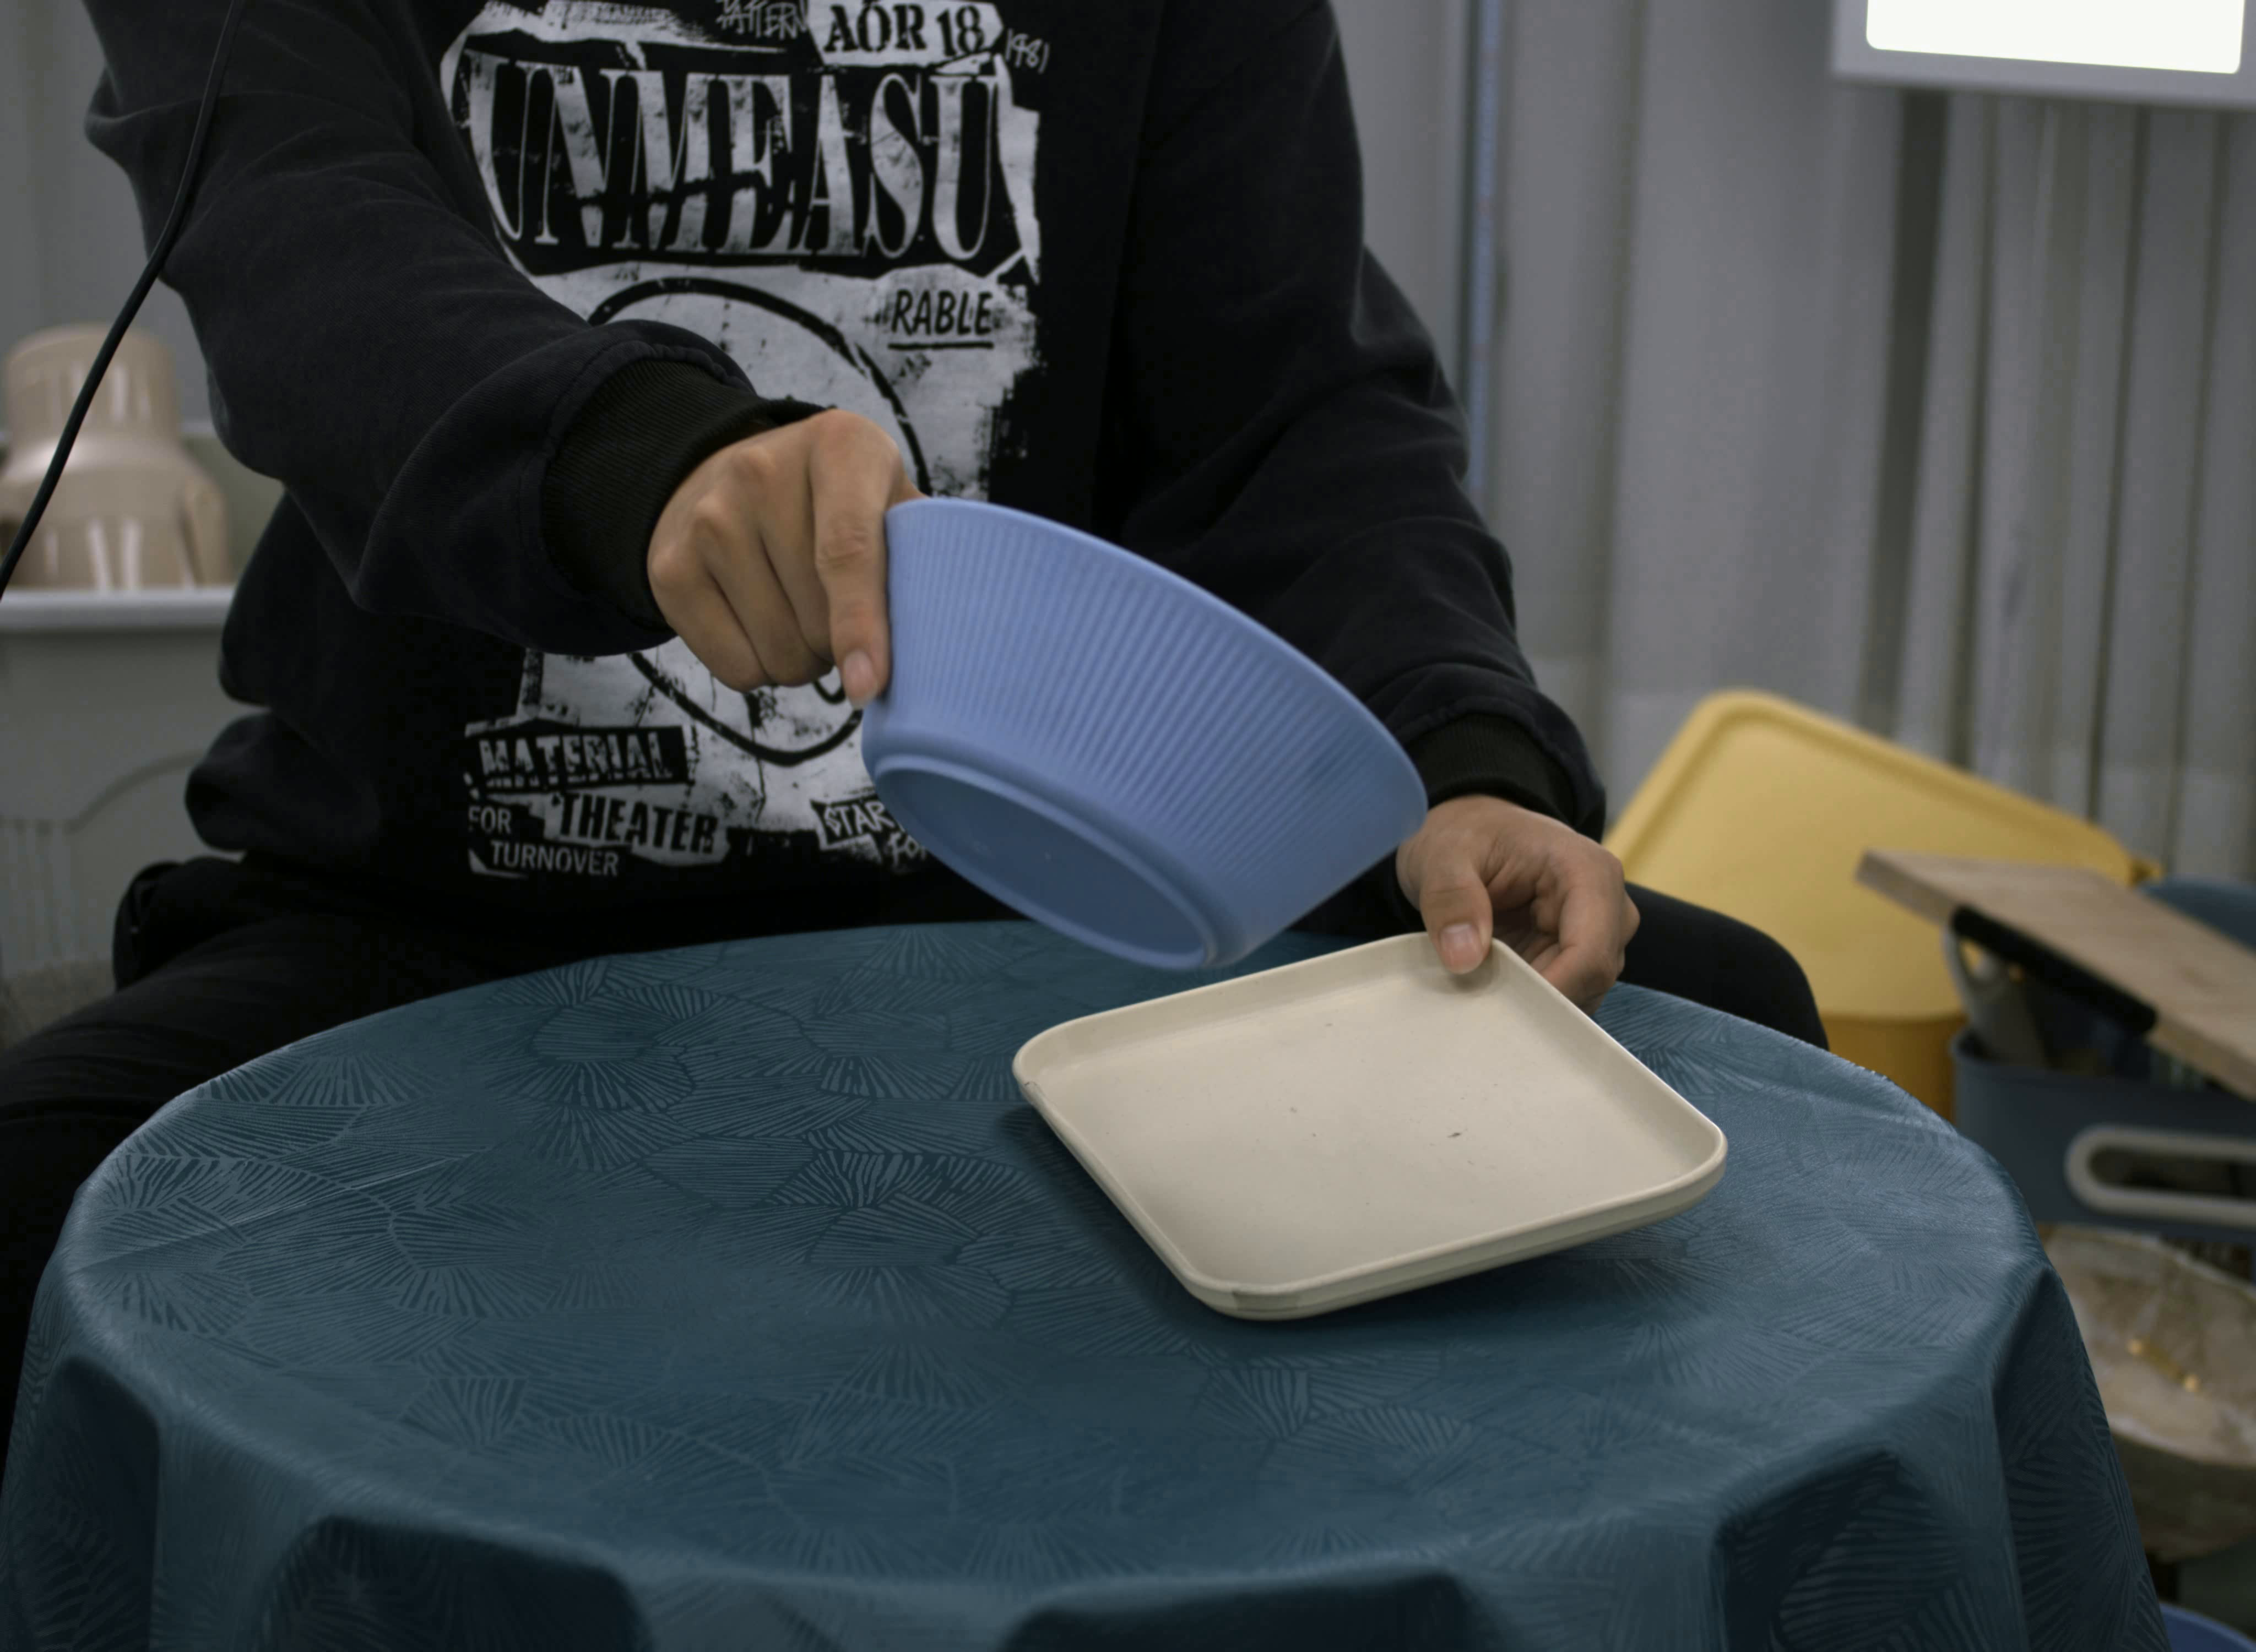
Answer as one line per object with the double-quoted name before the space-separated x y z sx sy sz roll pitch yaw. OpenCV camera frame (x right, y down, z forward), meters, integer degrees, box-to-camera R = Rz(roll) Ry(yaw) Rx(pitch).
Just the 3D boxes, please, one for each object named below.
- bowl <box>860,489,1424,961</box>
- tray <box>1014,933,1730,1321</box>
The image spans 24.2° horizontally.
"bowl" -0.009 -0.019 1.479 0.175 0.070 0.177 26 -16 9
"tray" 0.071 0.091 1.624 0.171 0.017 0.237 -13 20 -14
